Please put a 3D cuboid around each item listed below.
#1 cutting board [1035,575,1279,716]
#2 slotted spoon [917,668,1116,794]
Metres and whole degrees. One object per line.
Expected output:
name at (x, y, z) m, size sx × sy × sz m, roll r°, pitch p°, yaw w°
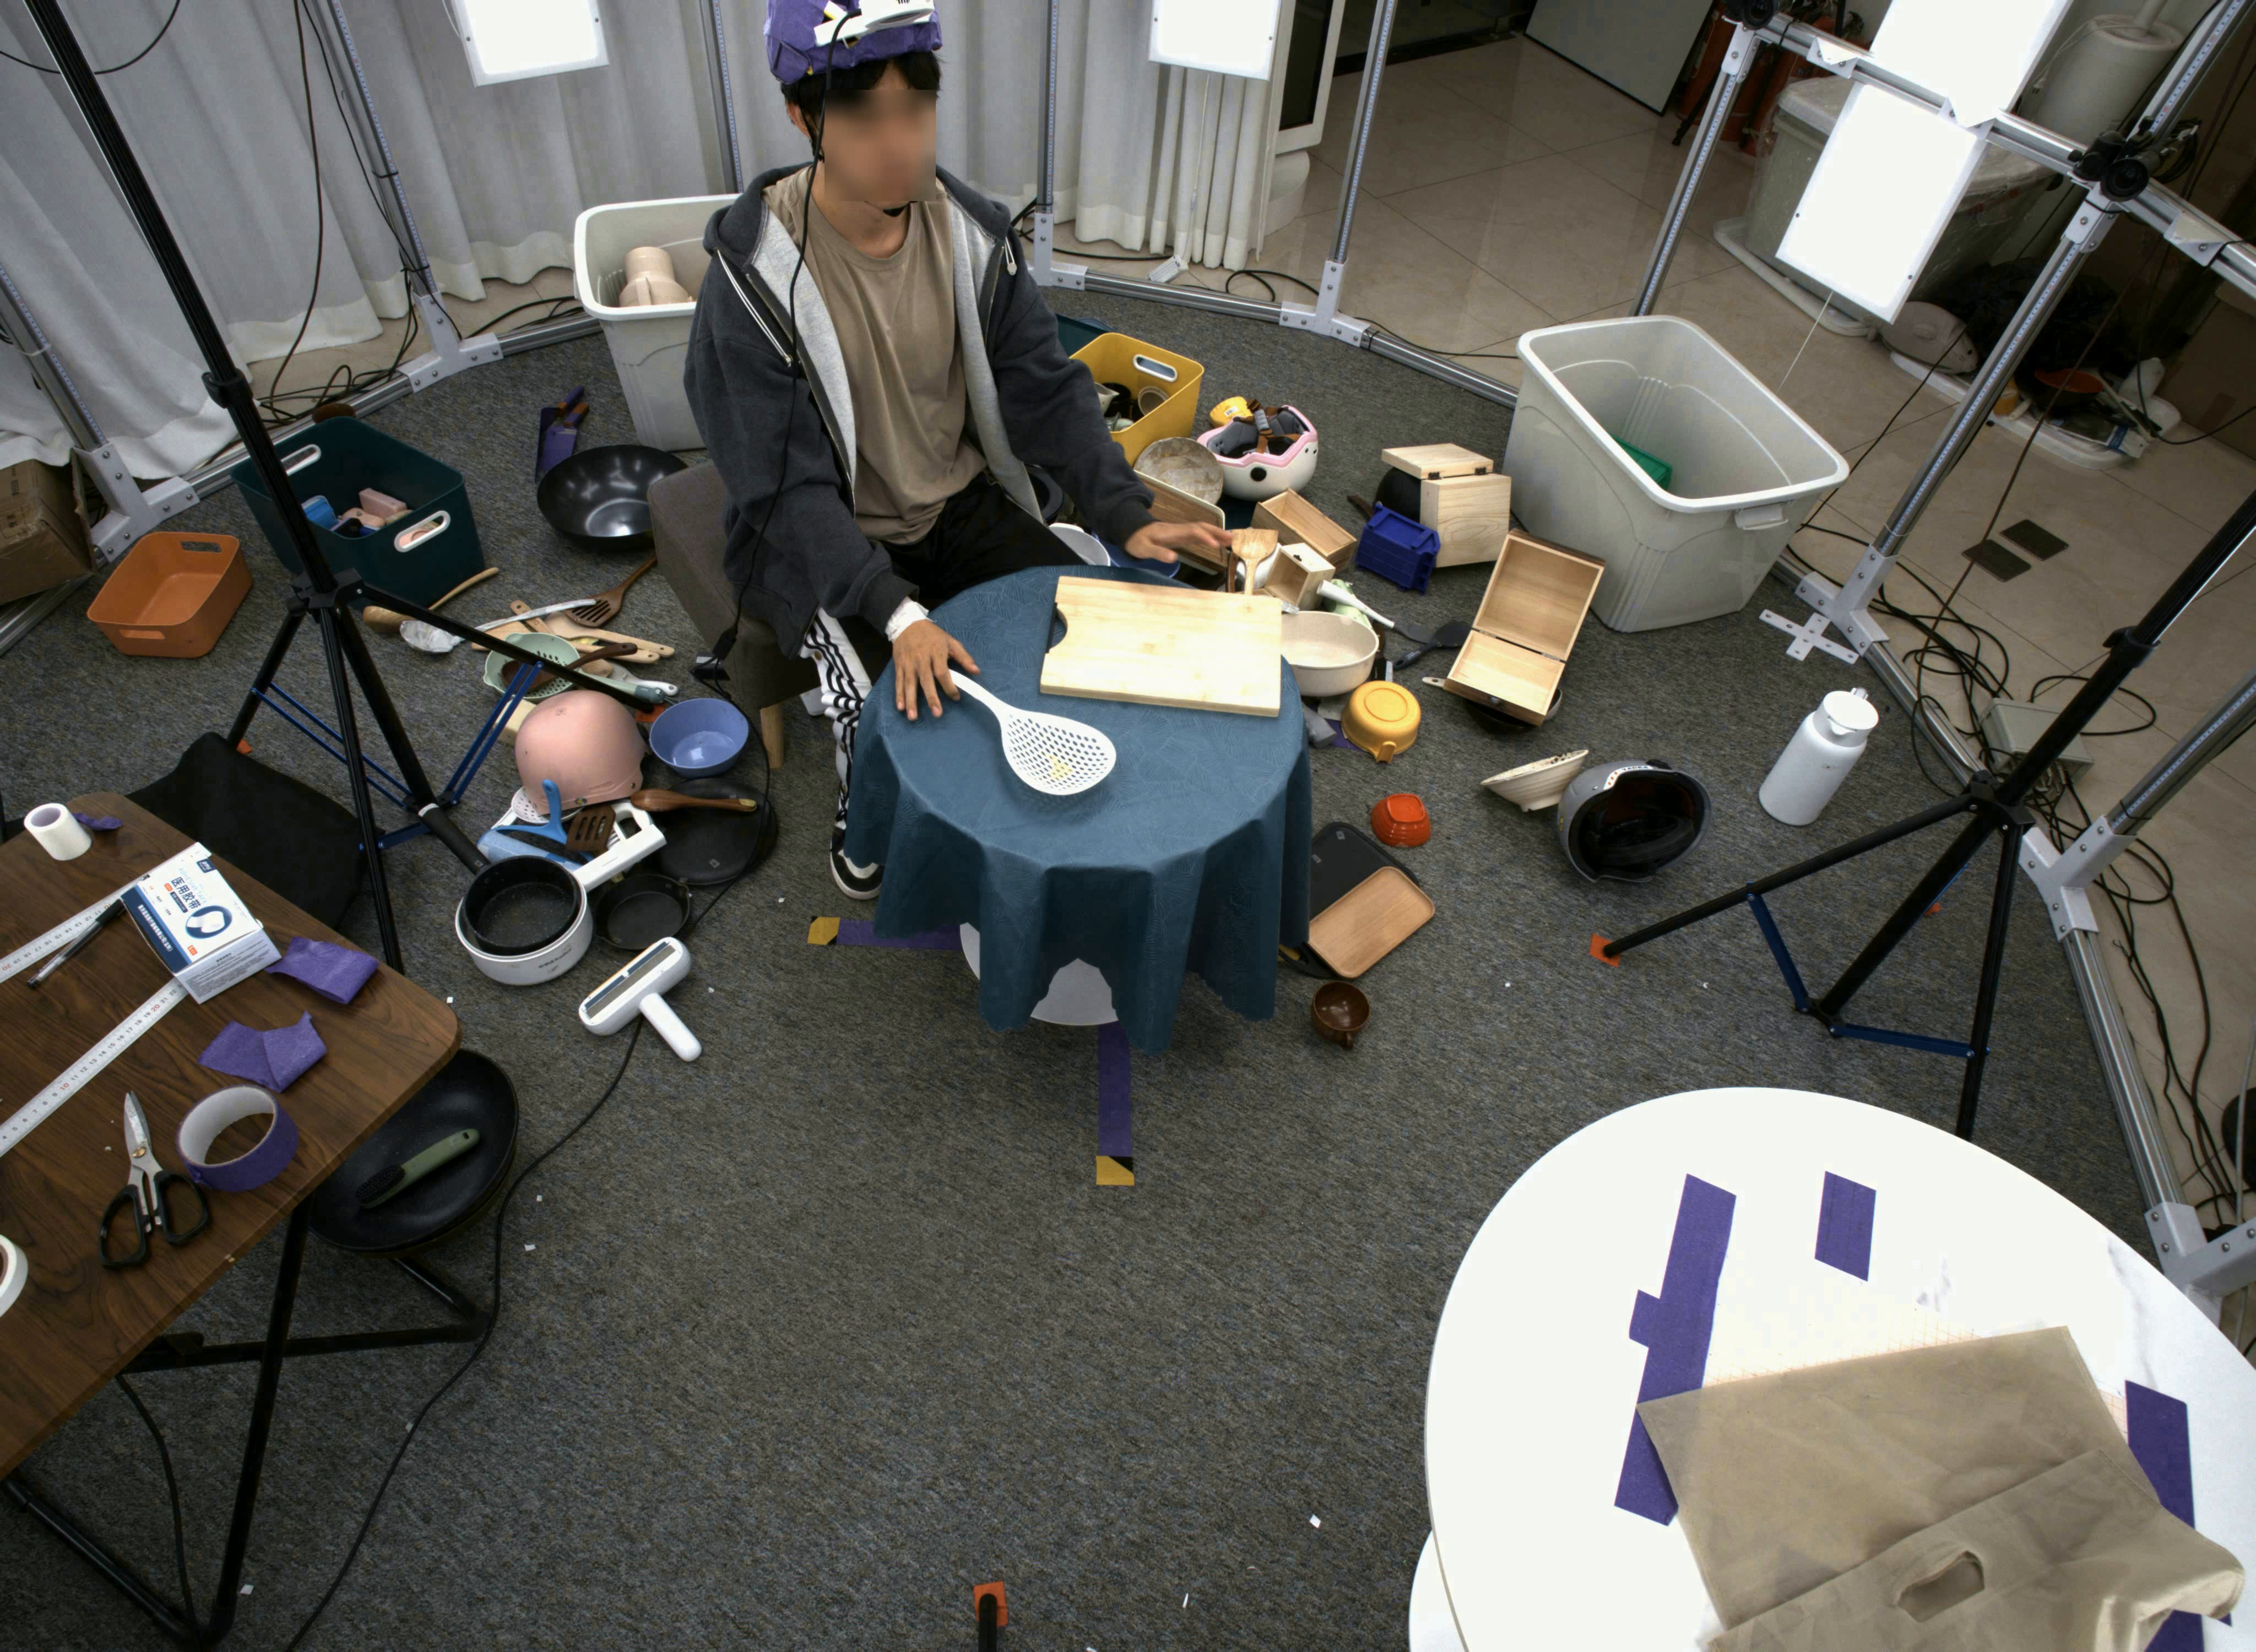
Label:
cutting board at (0.050, -0.269, 1.893) m, size 0.348 × 0.023 × 0.257 m, roll 5°, pitch 48°, yaw 1°
slotted spoon at (-0.165, -0.144, 1.753) m, size 0.353 × 0.049 × 0.138 m, roll 38°, pitch 58°, yaw 26°
